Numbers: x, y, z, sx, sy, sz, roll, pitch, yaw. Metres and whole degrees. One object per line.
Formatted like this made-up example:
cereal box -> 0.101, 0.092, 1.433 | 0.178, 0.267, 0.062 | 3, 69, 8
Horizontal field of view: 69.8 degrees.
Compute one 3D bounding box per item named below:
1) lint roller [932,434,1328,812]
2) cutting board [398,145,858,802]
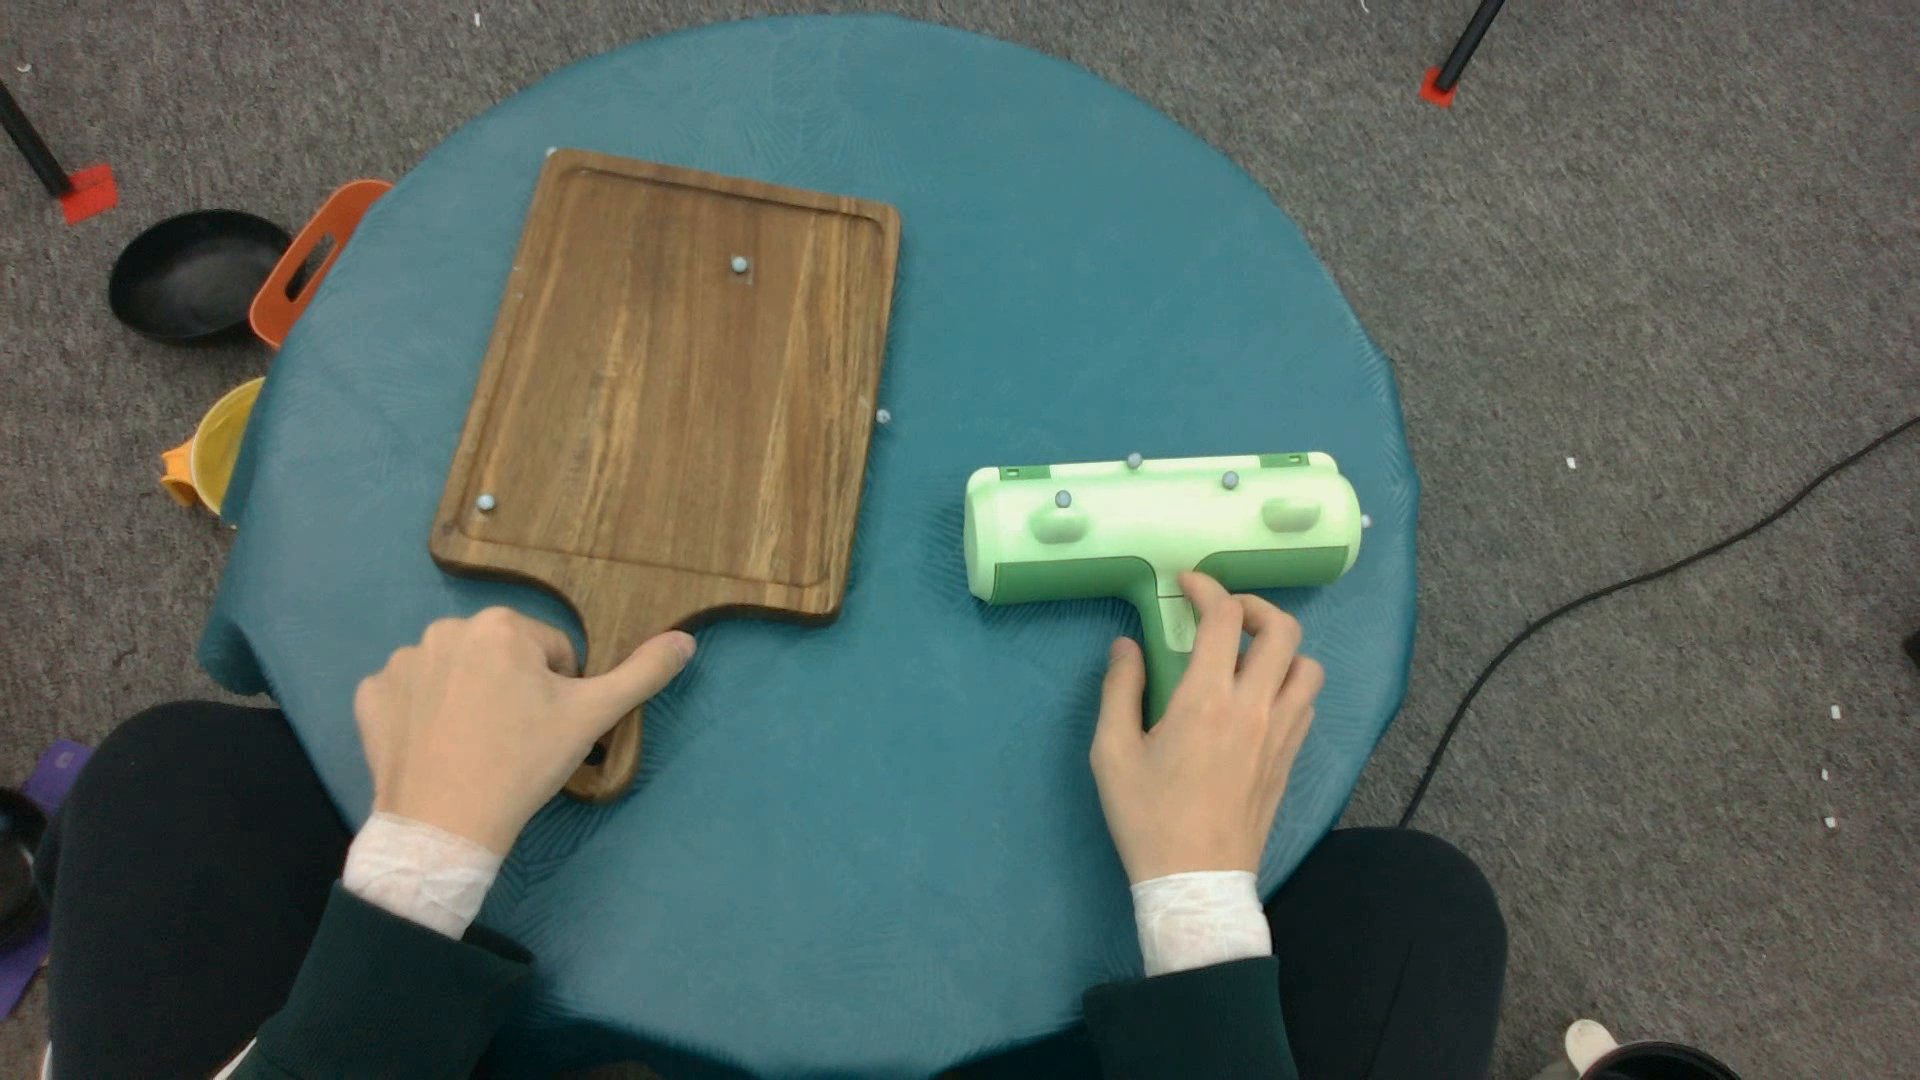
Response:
lint roller -> 0.094, 0.033, 0.664 | 0.199, 0.082, 0.184 | -4, 63, -10
cutting board -> -0.163, -0.045, 0.687 | 0.201, 0.023, 0.353 | 7, 65, -5
